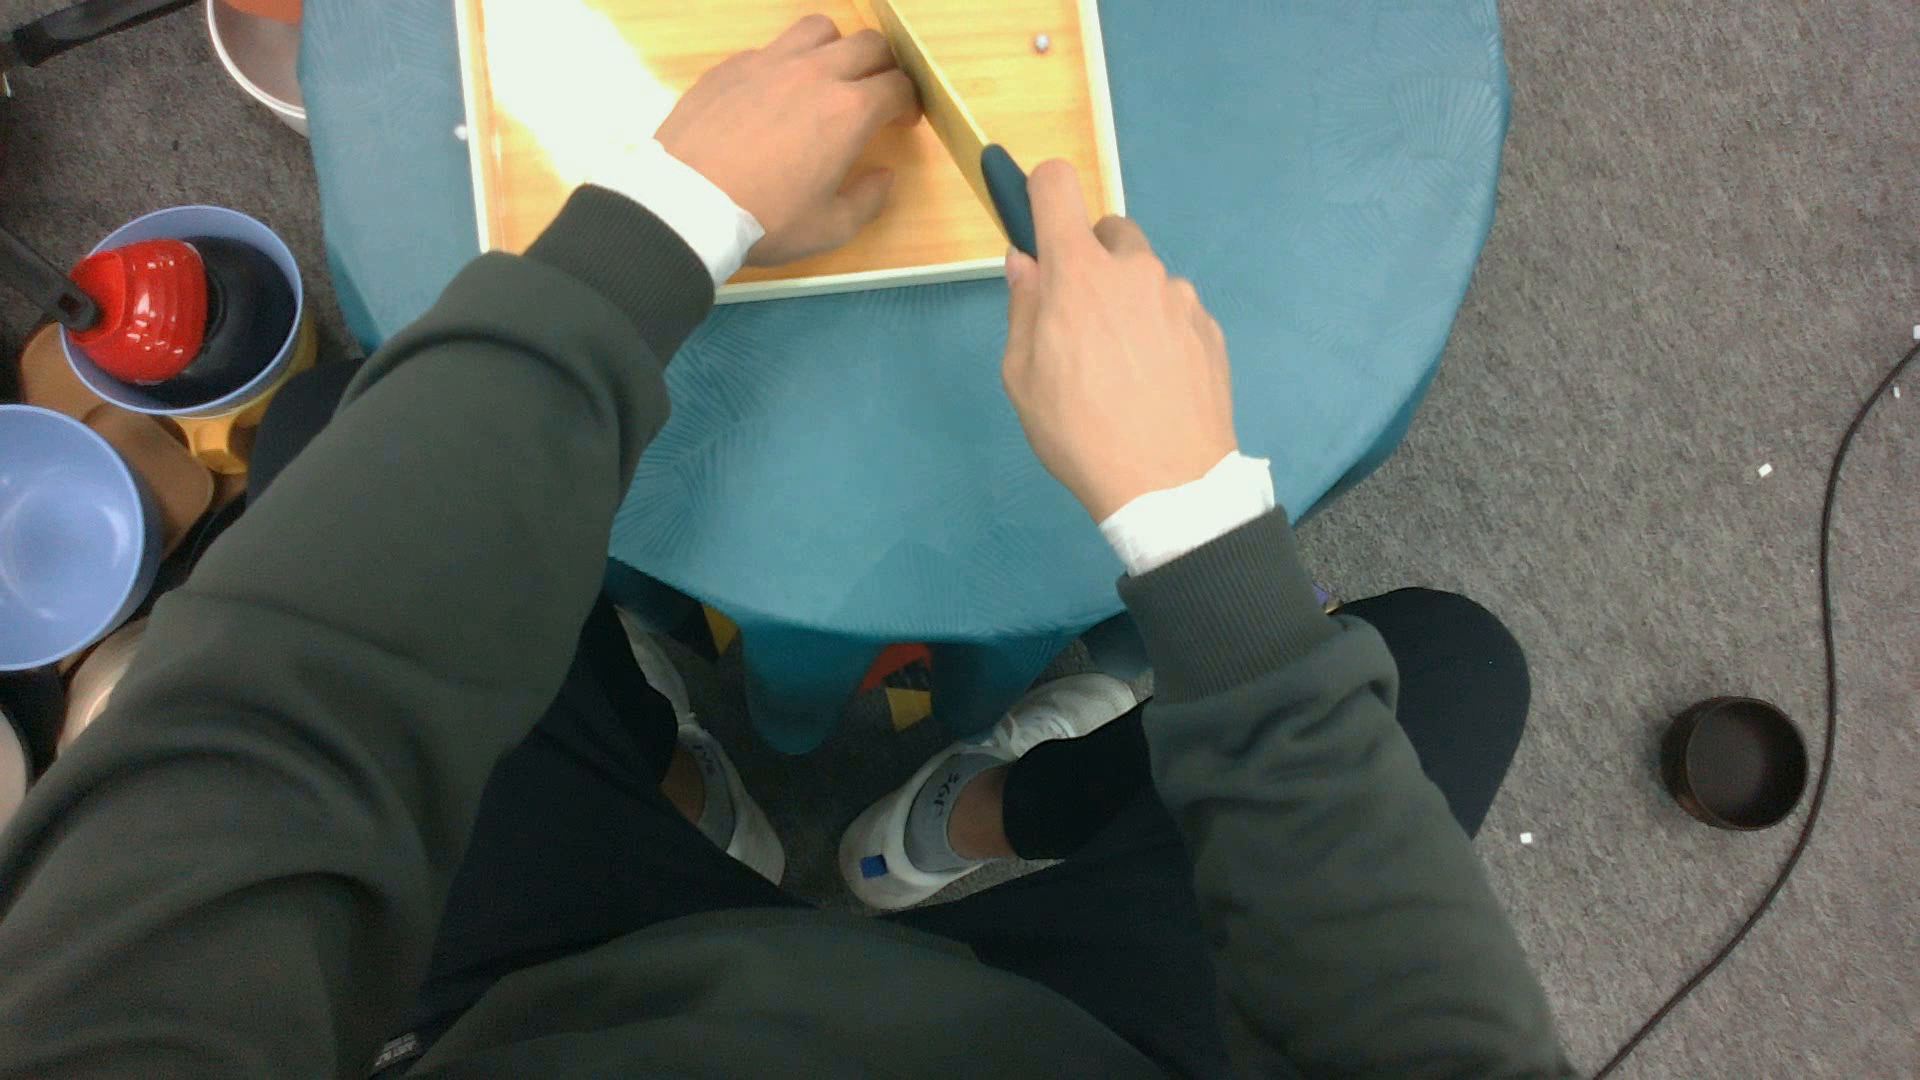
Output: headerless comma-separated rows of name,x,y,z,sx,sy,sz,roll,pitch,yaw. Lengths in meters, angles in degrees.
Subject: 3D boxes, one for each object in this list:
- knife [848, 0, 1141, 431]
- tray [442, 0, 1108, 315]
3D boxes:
knife,0.002,-0.164,0.614,0.027,0.081,0.290,-29,71,-1
tray,-0.087,-0.216,0.663,0.300,0.027,0.191,-7,85,-7
